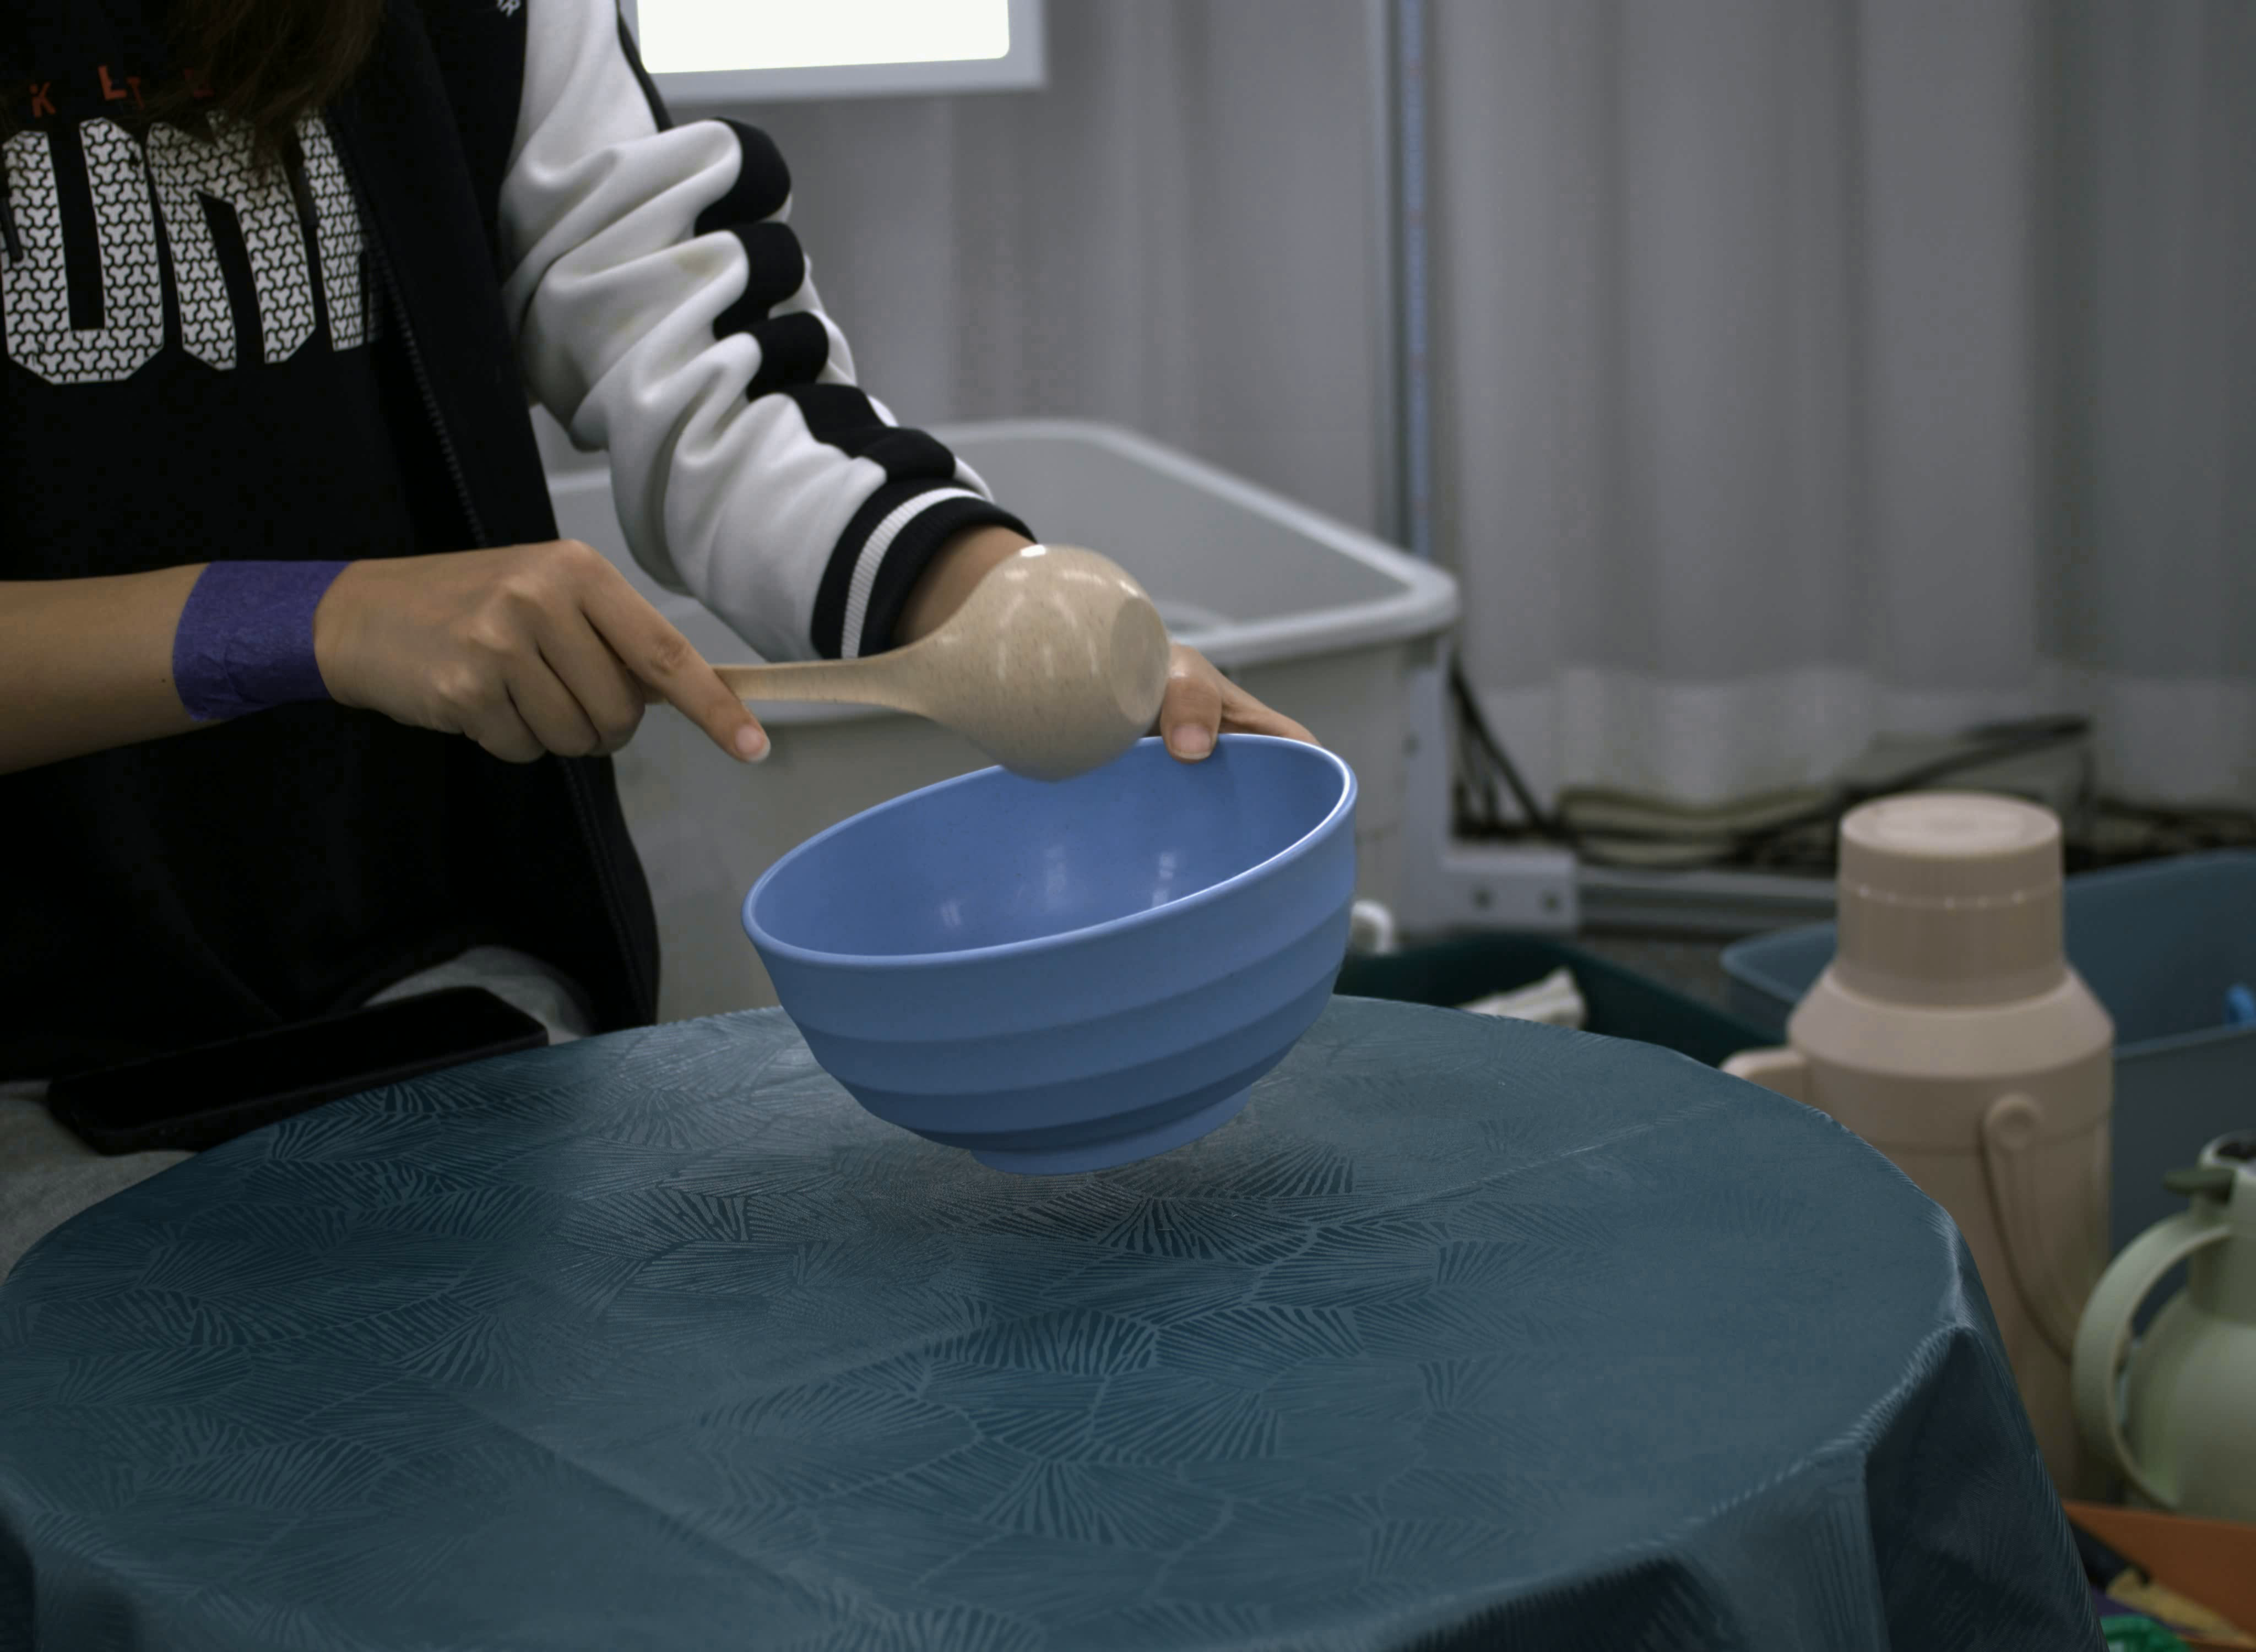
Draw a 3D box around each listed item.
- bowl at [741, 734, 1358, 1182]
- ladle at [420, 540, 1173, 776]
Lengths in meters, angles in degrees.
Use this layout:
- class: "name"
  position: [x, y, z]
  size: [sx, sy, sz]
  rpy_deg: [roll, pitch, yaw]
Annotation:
- class: "bowl"
  position: [-0.015, 0.050, 1.710]
  size: [0.196, 0.095, 0.198]
  rpy_deg: [-11, 17, 3]
- class: "ladle"
  position: [-0.103, -0.055, 1.728]
  size: [0.255, 0.072, 0.072]
  rpy_deg: [2, 9, 33]
